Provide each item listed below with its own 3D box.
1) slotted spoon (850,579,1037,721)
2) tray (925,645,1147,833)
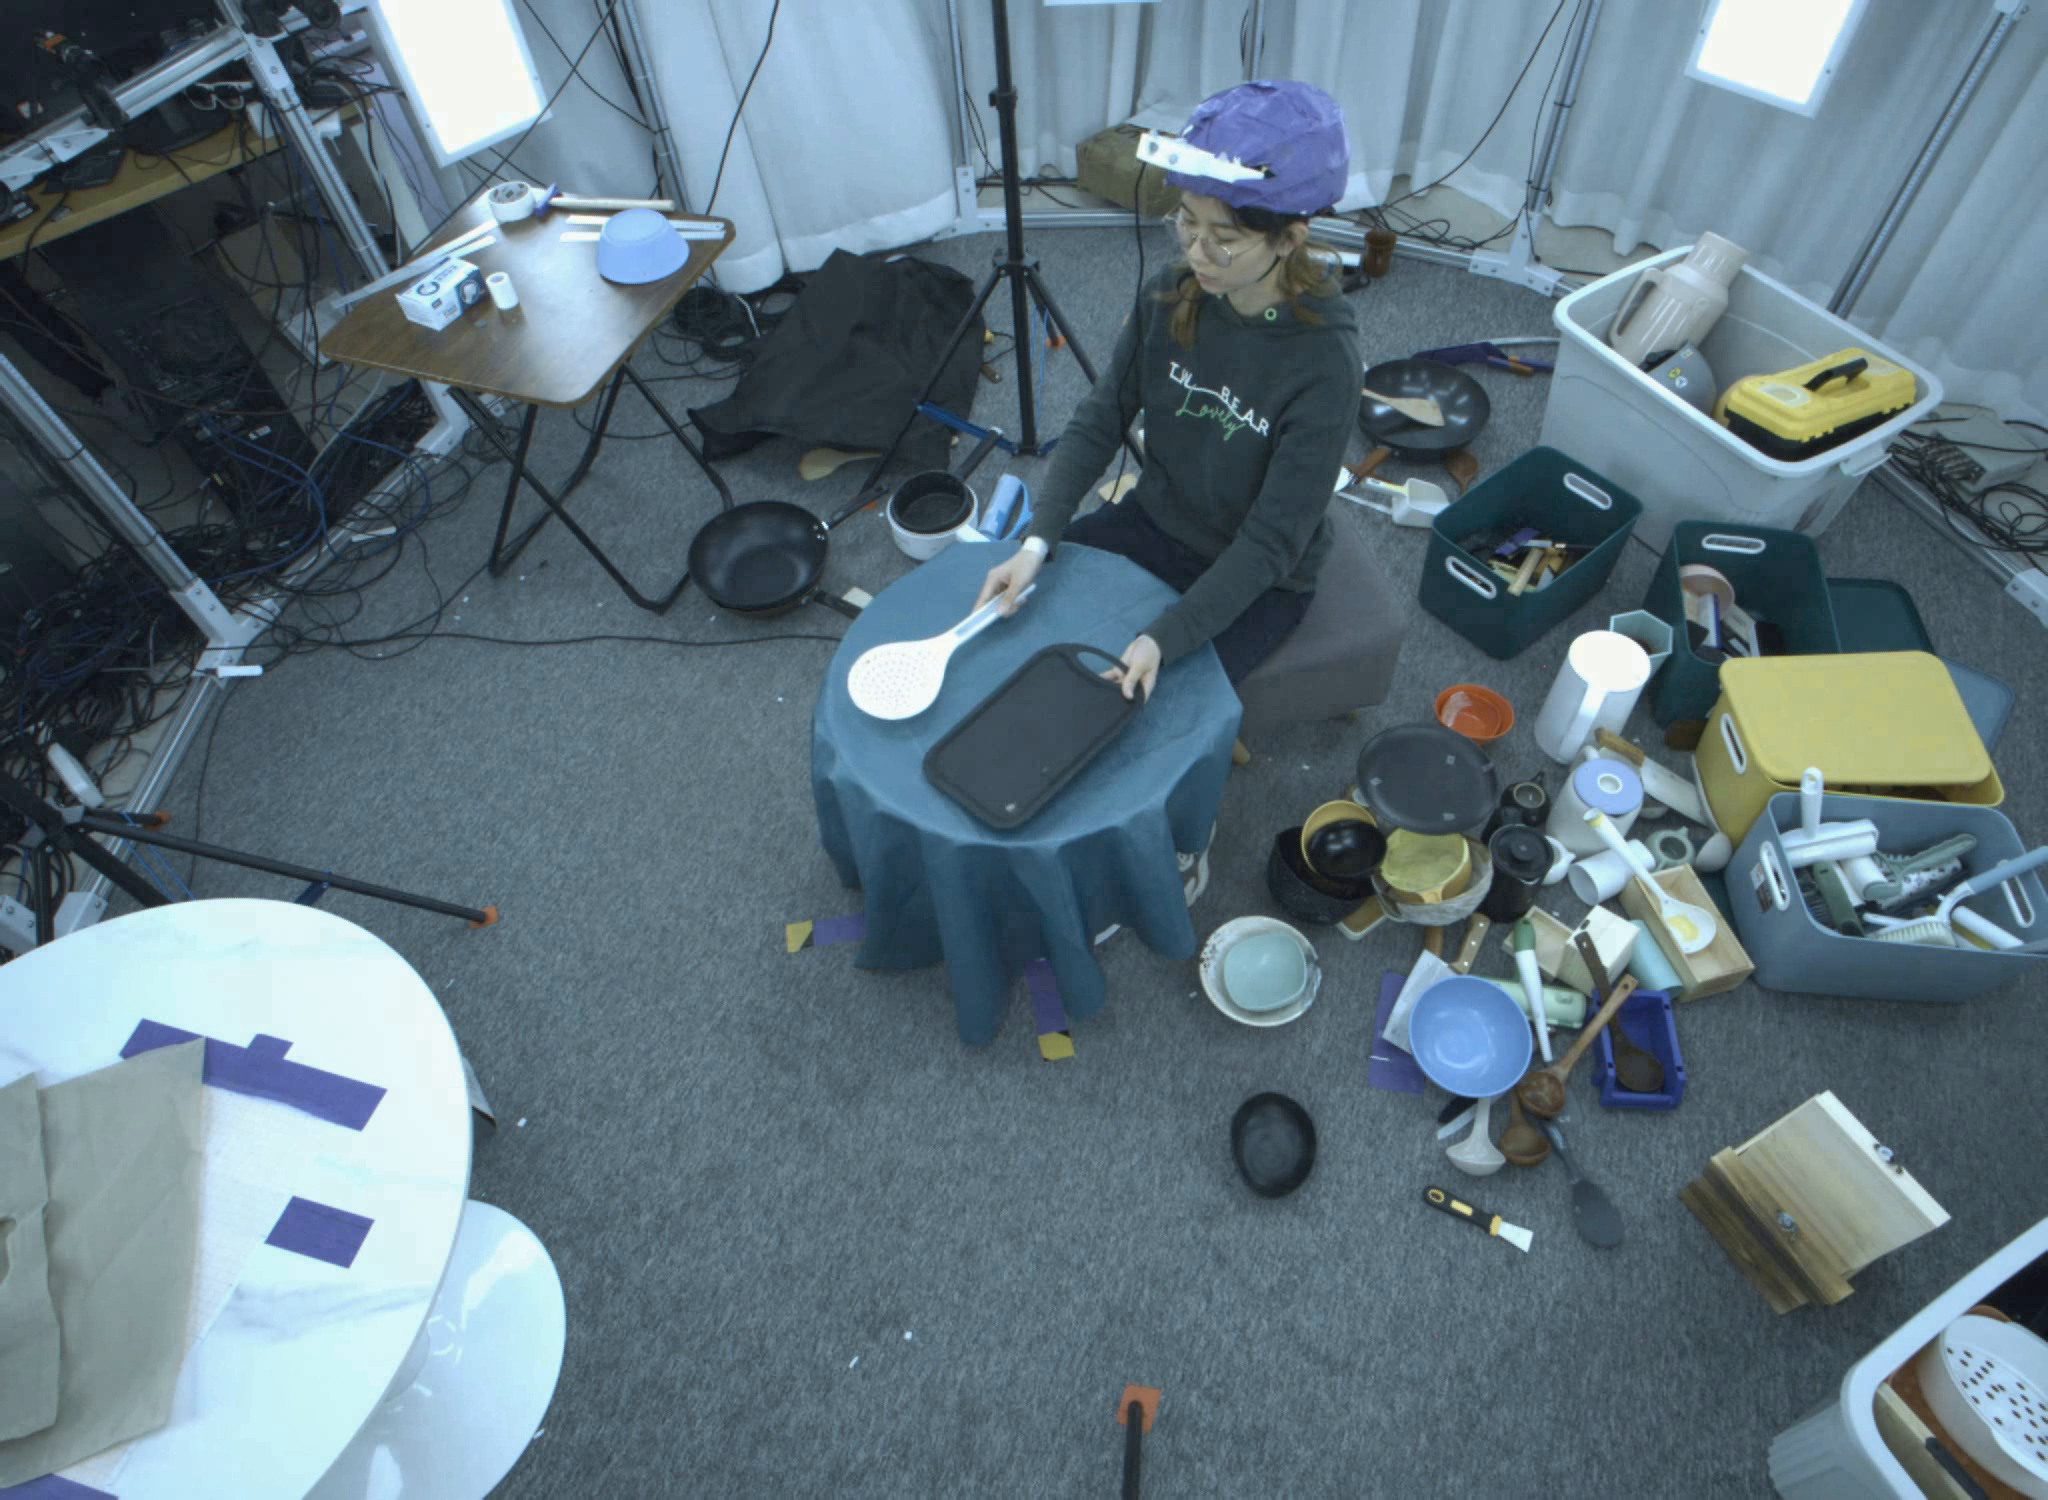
[{"bbox_3d":[-0.114,-0.160,1.868,0.352,0.046,0.134,-41,71,-19],"label":"slotted spoon"},{"bbox_3d":[0.021,-0.029,1.771,0.327,0.010,0.206,-43,56,-18],"label":"tray"}]
